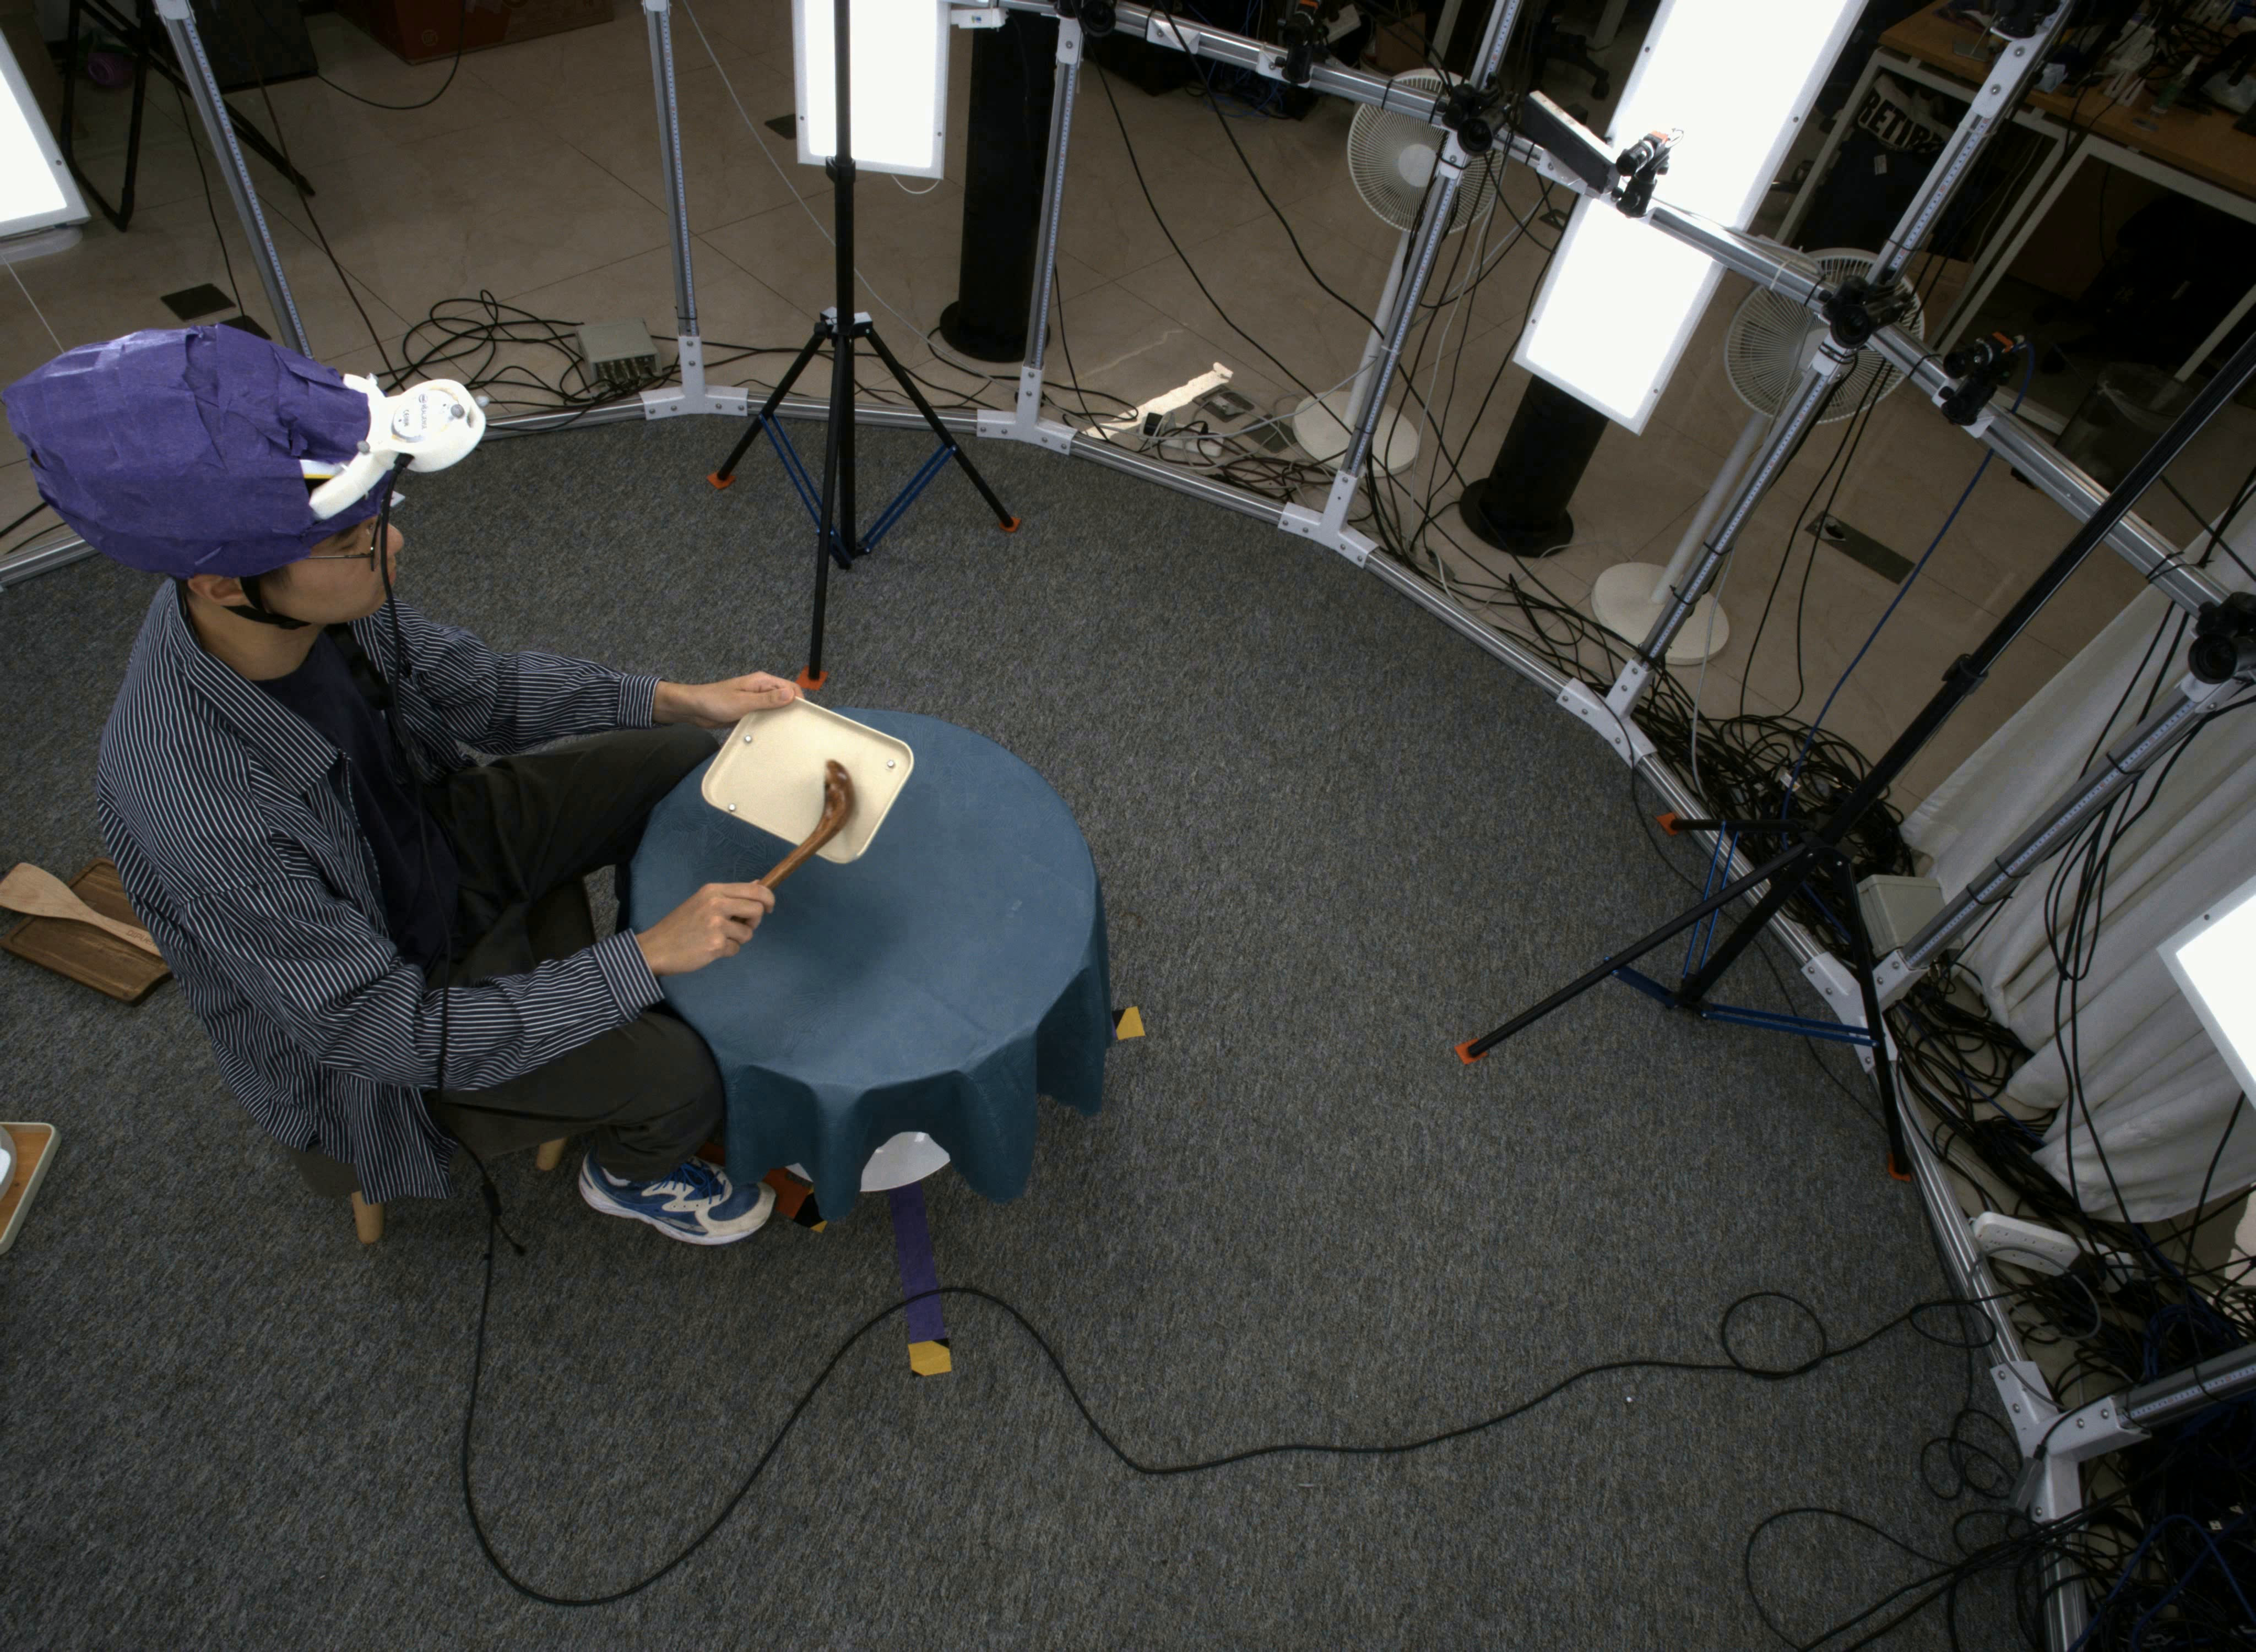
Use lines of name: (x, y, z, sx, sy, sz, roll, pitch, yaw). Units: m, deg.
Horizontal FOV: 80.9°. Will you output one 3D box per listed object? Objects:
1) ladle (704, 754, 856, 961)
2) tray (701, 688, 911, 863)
ladle: (-0.406, 0.029, 1.476, 0.074, 0.085, 0.274, 27, 63, 26)
tray: (-0.390, -0.063, 1.573, 0.234, 0.018, 0.171, 23, 74, 14)
